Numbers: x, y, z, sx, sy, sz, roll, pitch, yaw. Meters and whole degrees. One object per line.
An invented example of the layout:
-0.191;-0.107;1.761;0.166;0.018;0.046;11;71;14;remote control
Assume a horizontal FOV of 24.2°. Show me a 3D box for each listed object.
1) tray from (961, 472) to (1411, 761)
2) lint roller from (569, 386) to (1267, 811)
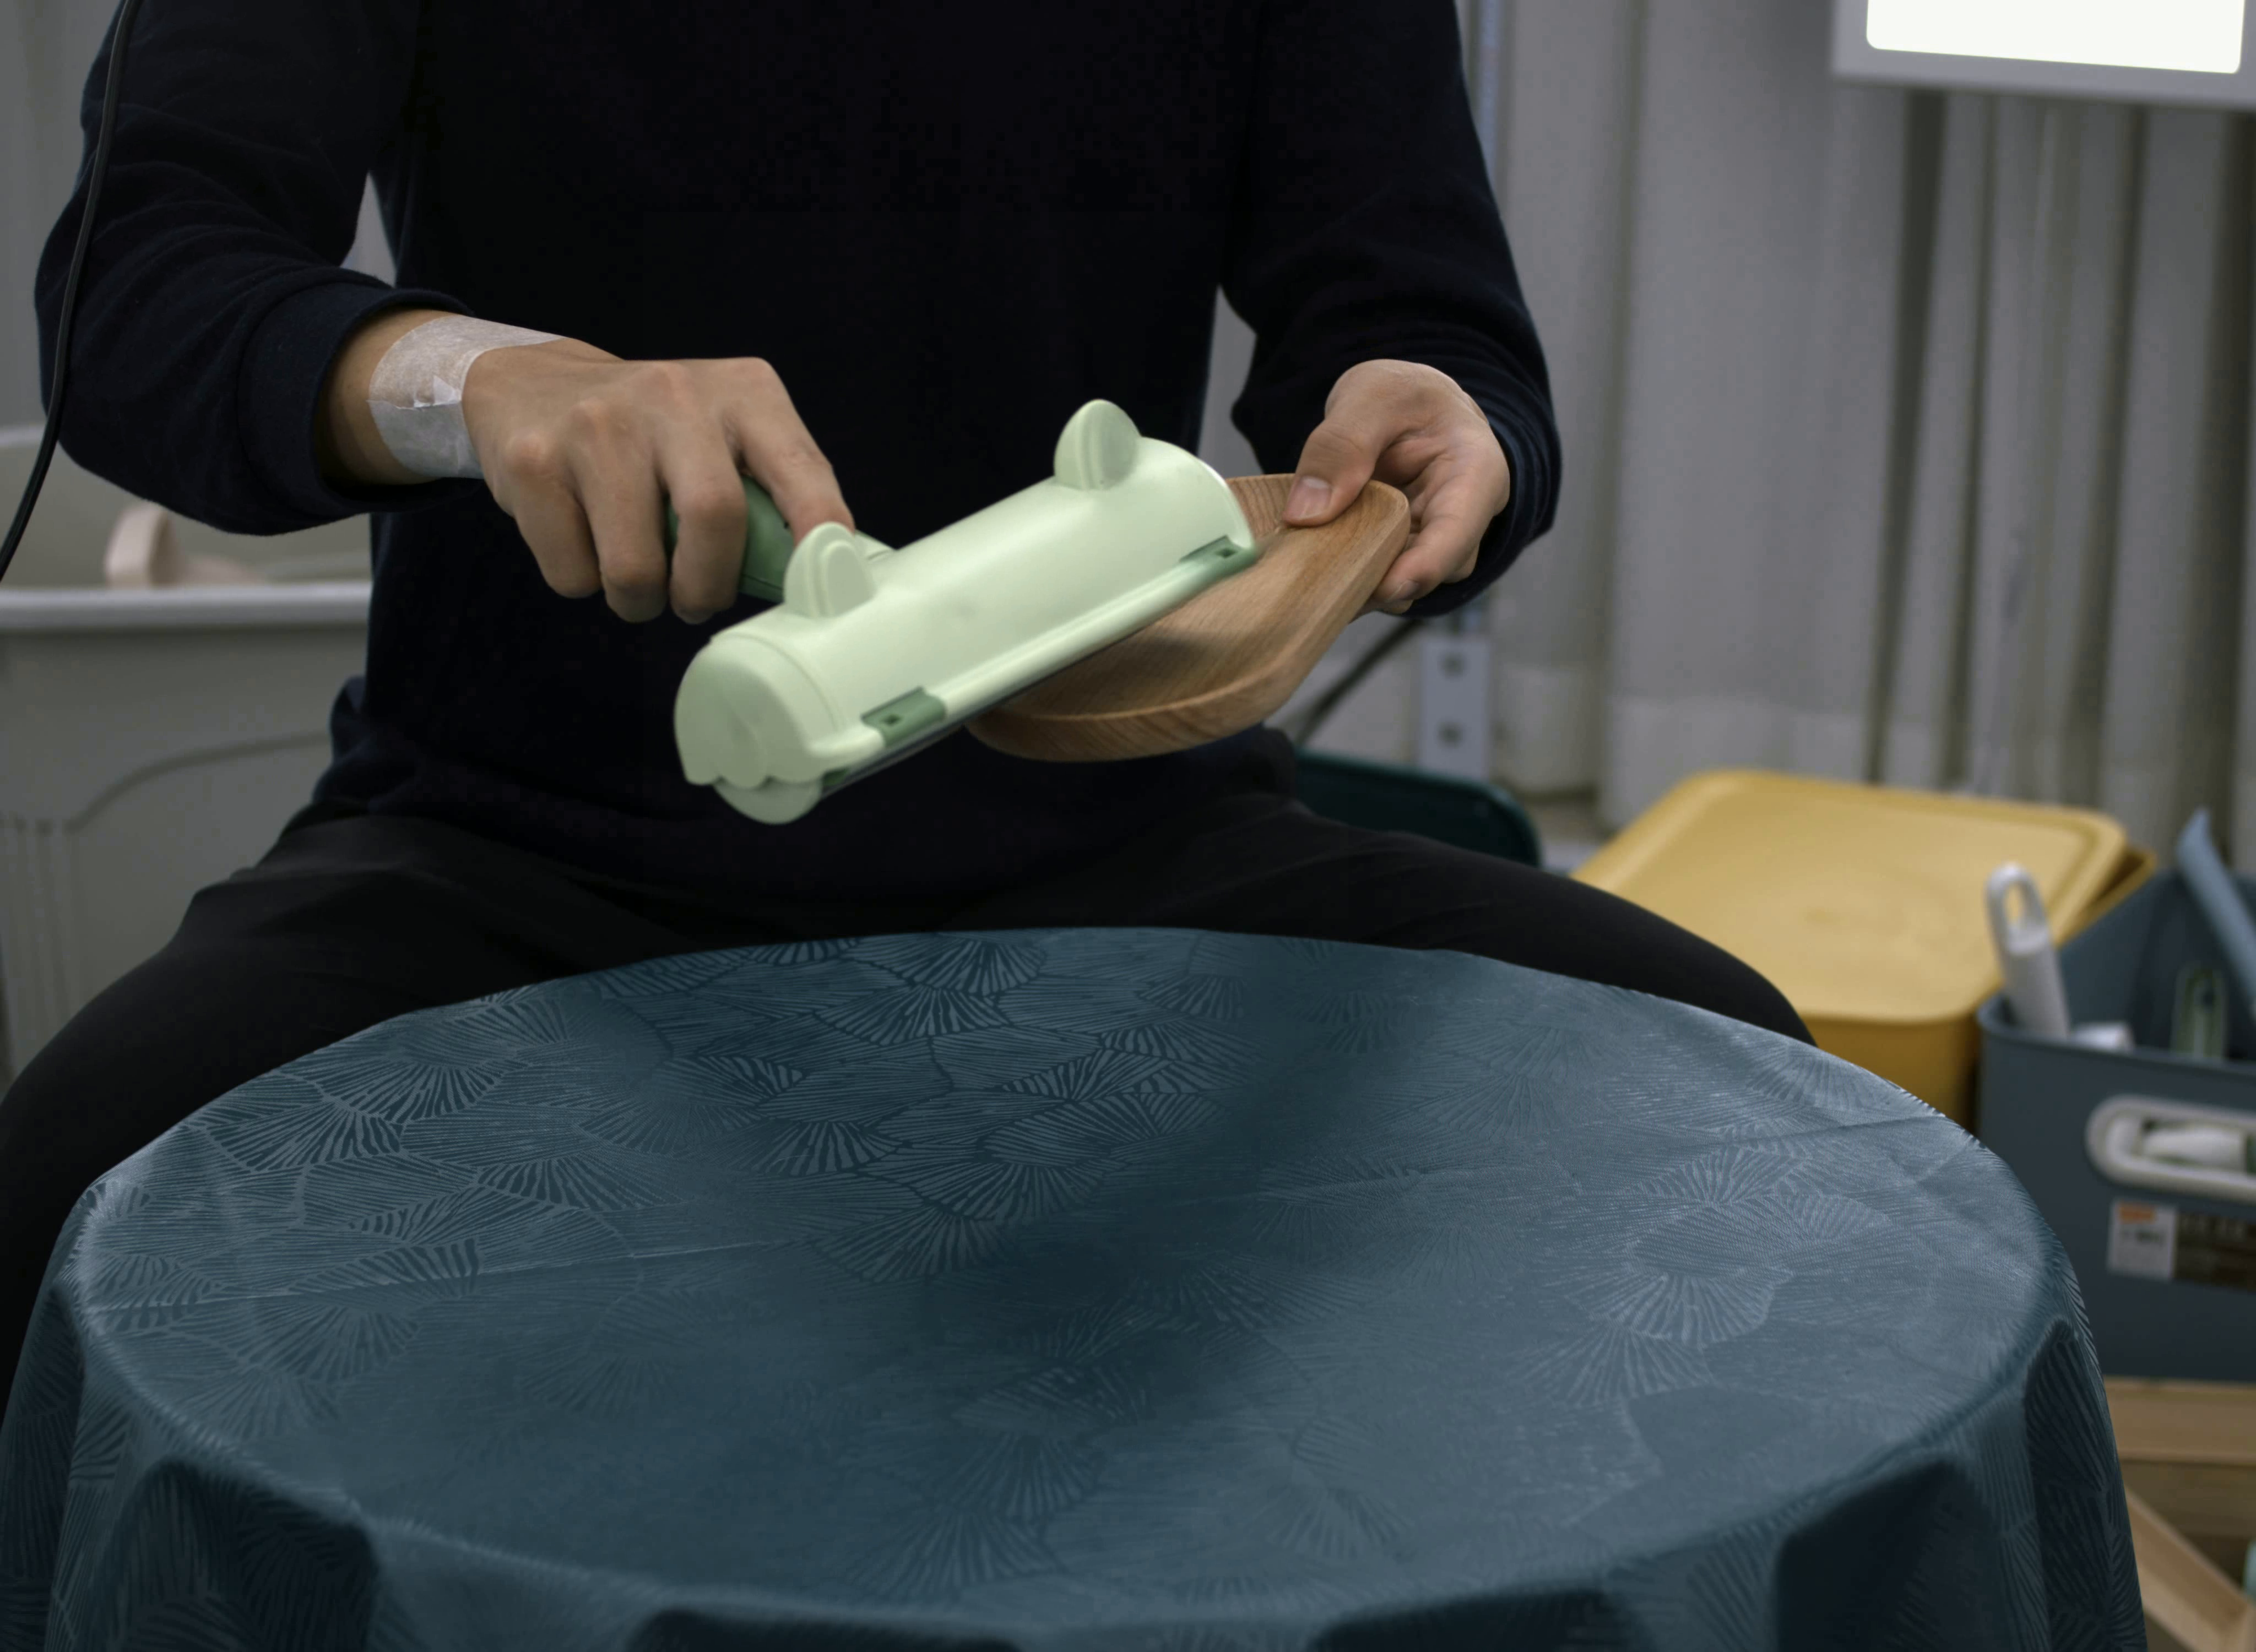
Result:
0.019;-0.064;1.553;0.101;0.020;0.230;-2;21;17;tray
-0.085;-0.092;1.482;0.181;0.083;0.199;32;38;25;lint roller
